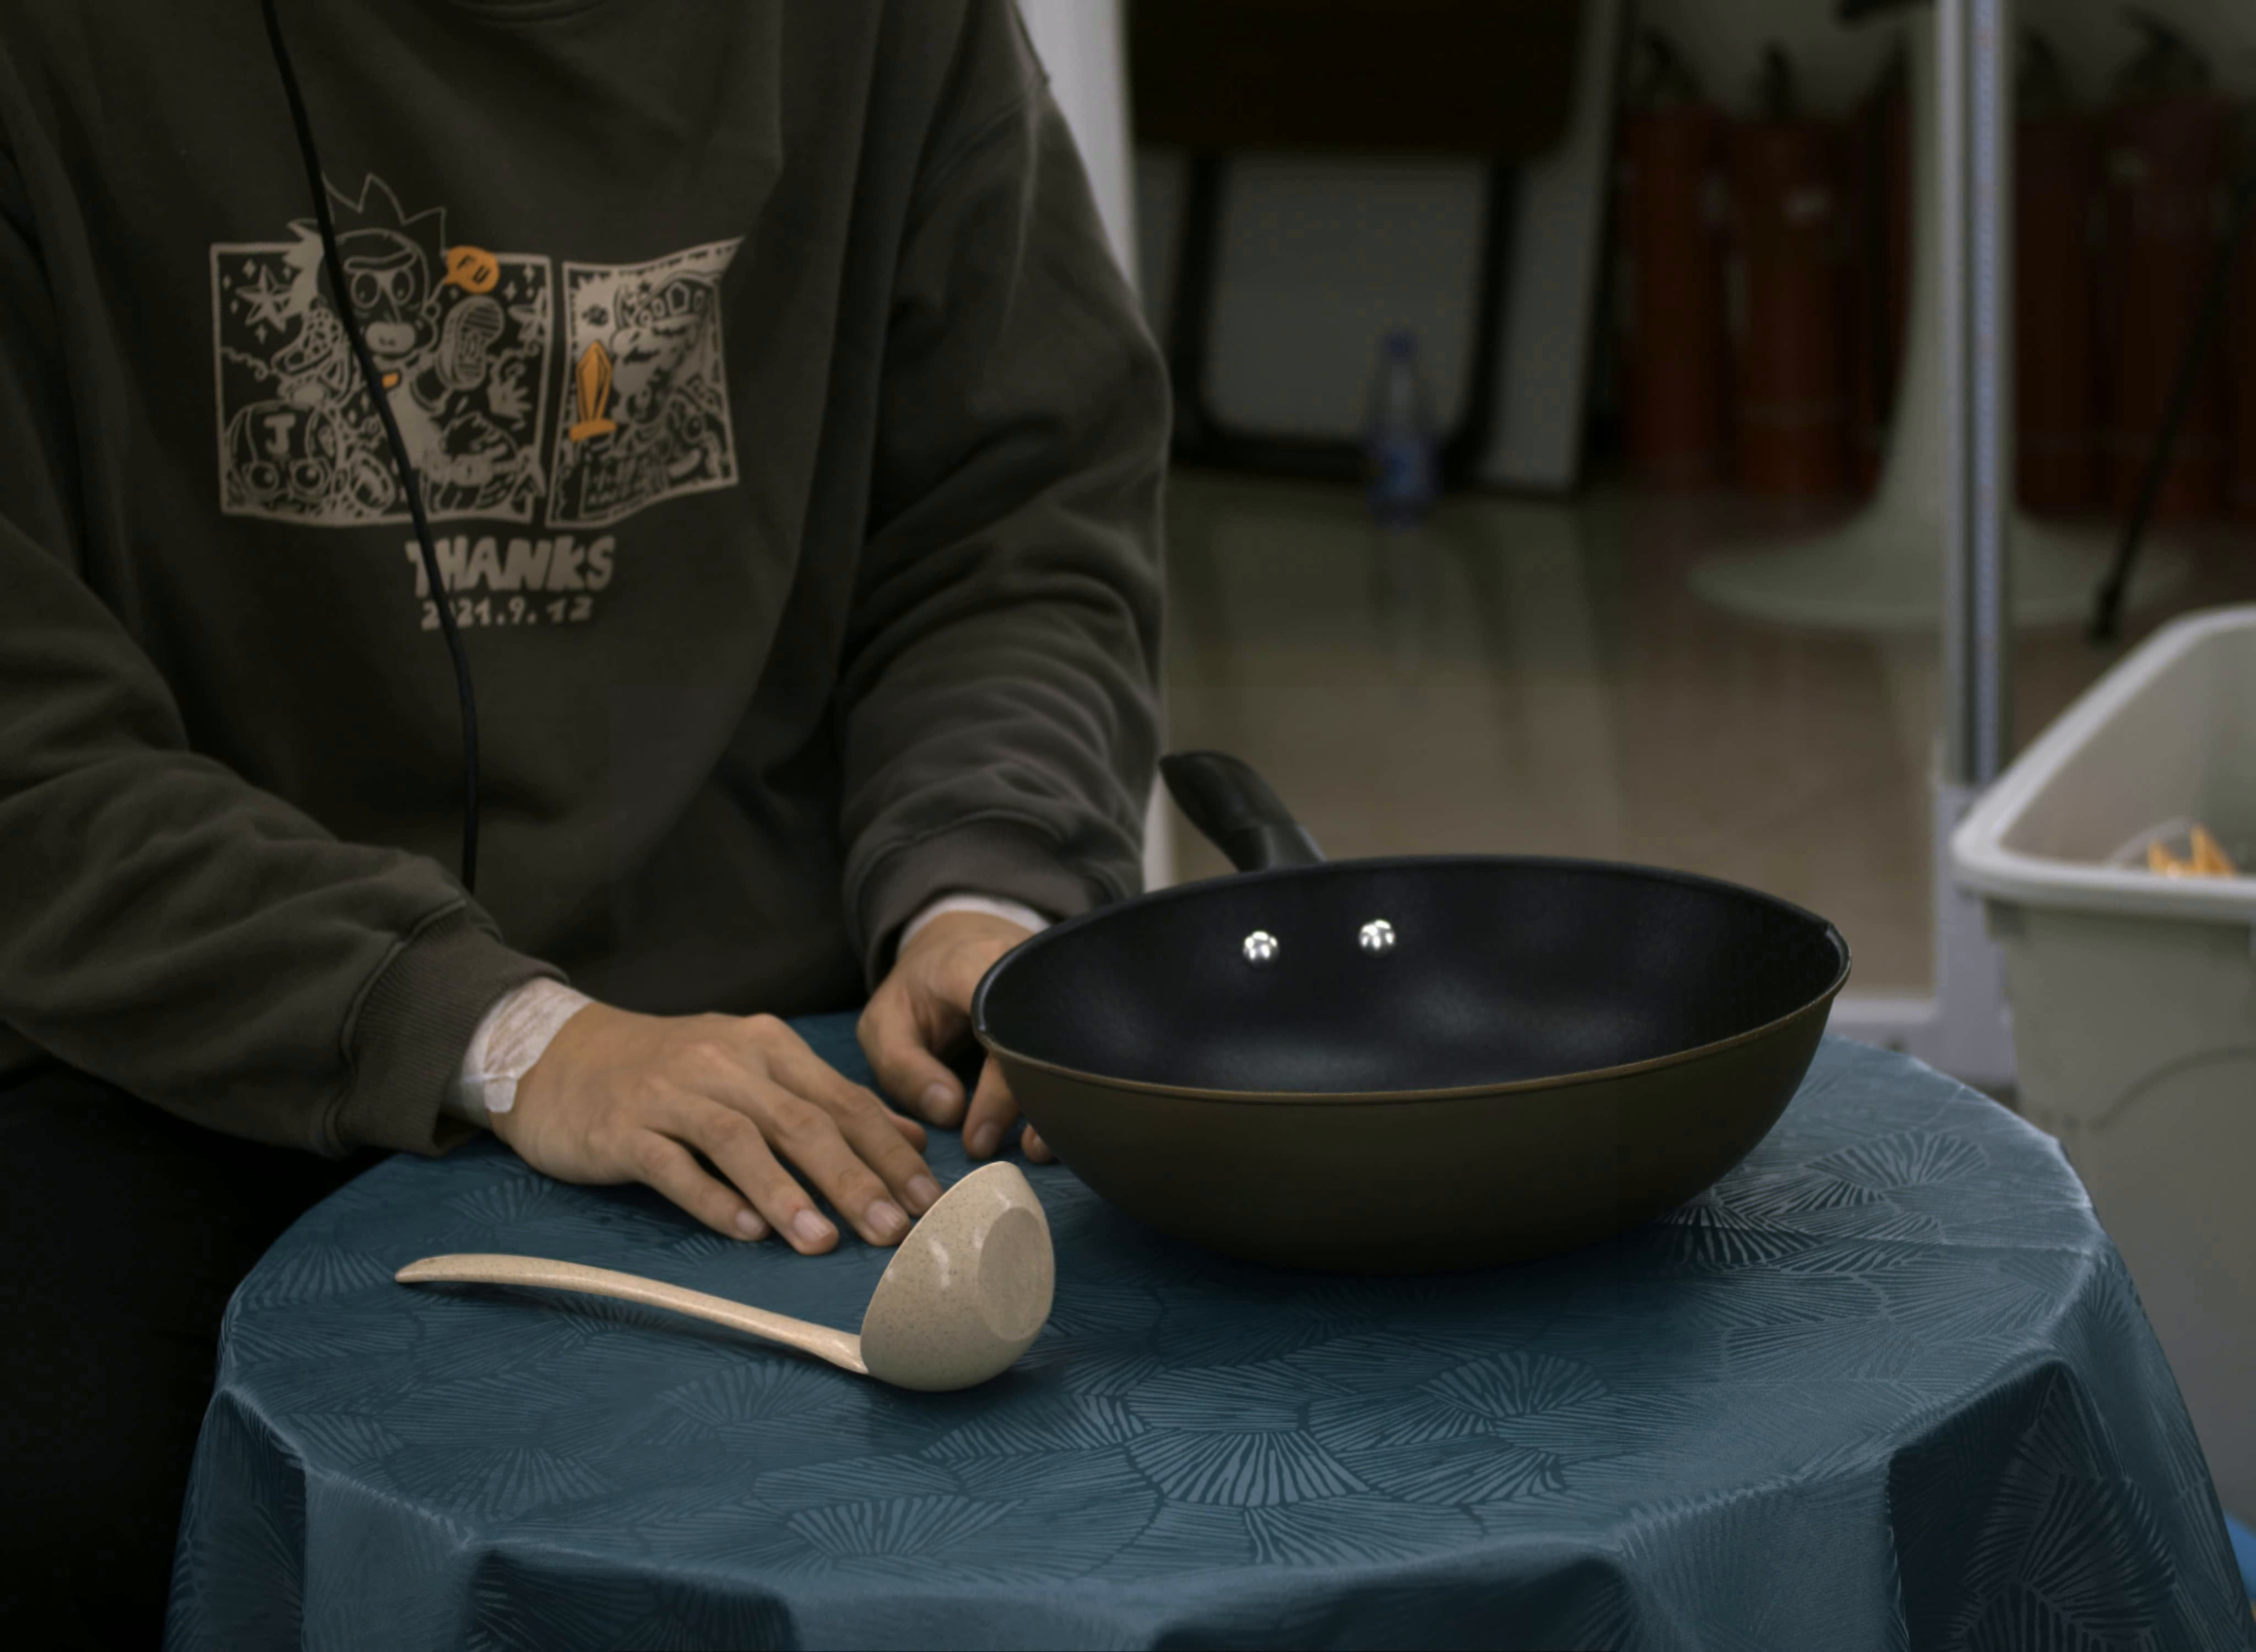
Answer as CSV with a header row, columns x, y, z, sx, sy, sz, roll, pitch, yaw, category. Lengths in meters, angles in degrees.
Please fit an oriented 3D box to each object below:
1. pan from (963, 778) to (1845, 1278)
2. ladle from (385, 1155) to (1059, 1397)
x,y,z,sx,sy,sz,roll,pitch,yaw,category
0.072,0.065,1.814,0.283,0.088,0.466,-7,13,-10,pan
-0.134,0.125,1.649,0.256,0.073,0.071,5,21,34,ladle
